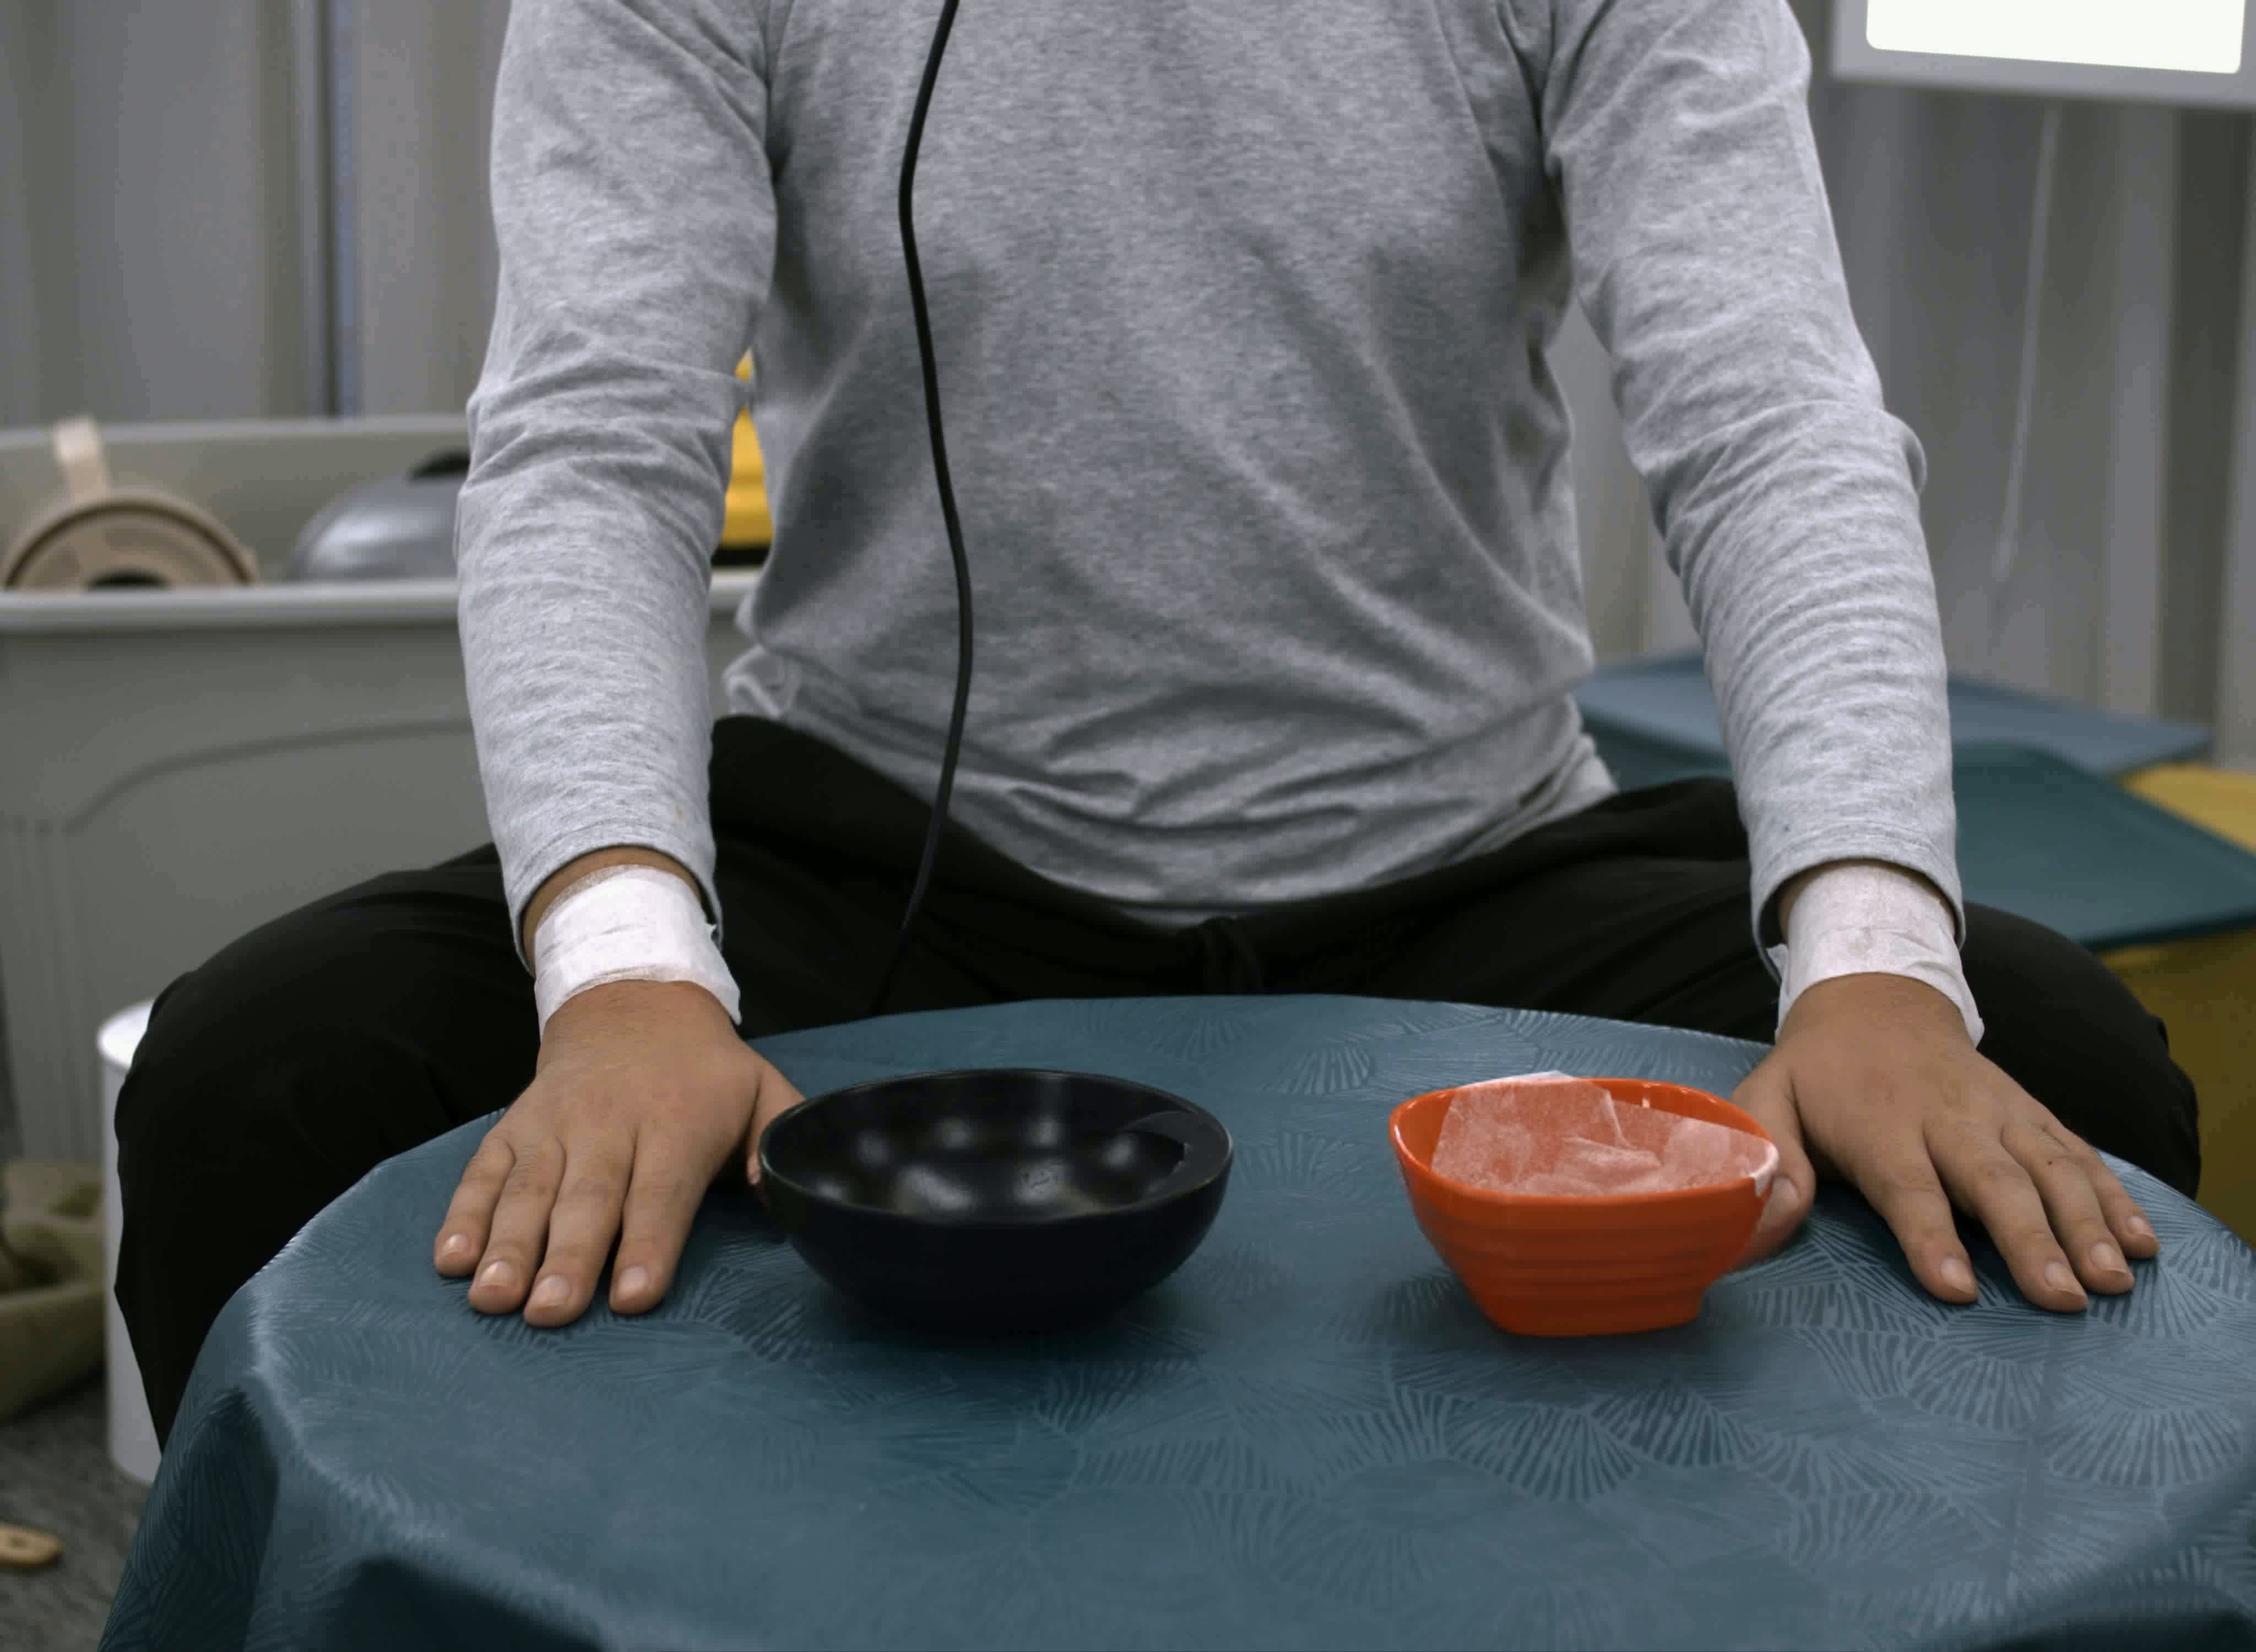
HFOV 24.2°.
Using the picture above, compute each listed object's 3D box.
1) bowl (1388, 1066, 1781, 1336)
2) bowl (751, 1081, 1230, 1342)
[{"bbox_3d":[0.132,0.111,1.533,0.118,0.052,0.118,0,17,1],"label":"bowl"},{"bbox_3d":[-0.040,0.115,1.526,0.139,0.050,0.139,1,13,0],"label":"bowl"}]
